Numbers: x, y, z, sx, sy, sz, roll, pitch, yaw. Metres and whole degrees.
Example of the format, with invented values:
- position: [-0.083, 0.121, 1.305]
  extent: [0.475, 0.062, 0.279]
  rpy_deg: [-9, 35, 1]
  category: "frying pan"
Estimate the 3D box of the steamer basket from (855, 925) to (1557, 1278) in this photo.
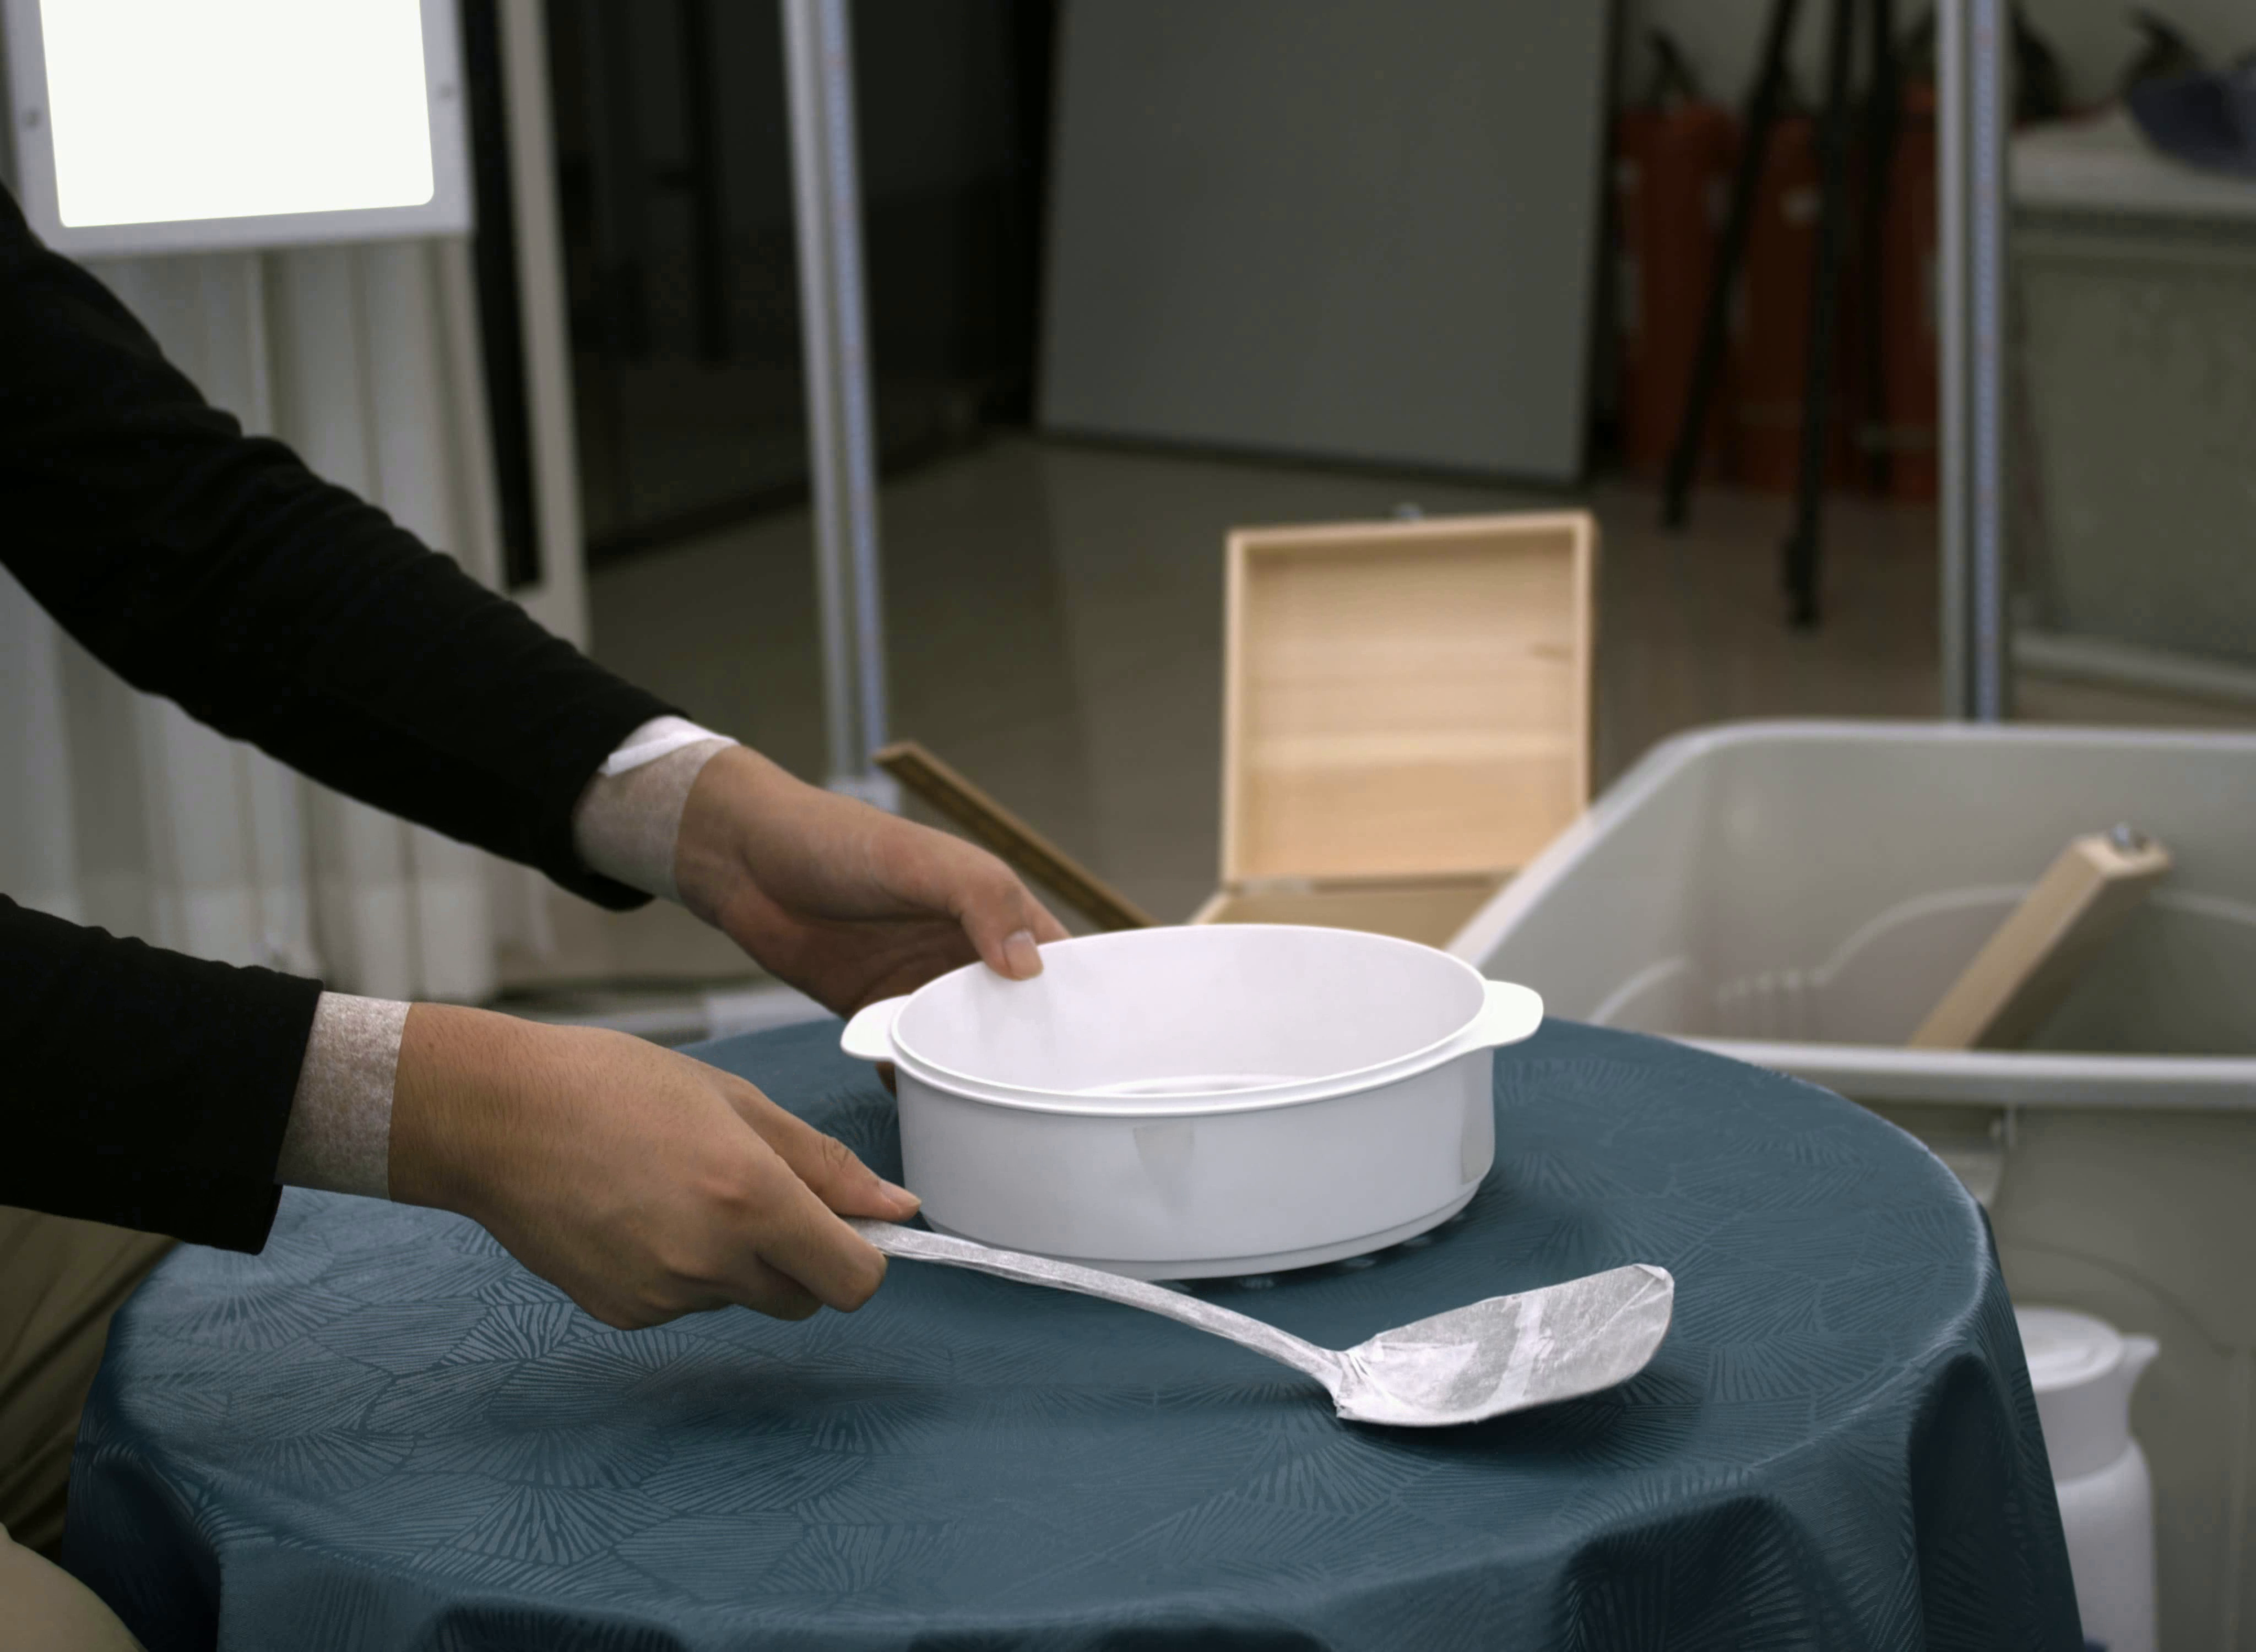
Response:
- position: [0.027, 0.089, 1.746]
  extent: [0.229, 0.070, 0.201]
  rpy_deg: [-3, 13, 10]
  category: "steamer basket"

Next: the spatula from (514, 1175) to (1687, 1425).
- position: [-0.016, 0.128, 1.588]
  extent: [0.363, 0.045, 0.098]
  rpy_deg: [11, 23, 15]
  category: "spatula"
